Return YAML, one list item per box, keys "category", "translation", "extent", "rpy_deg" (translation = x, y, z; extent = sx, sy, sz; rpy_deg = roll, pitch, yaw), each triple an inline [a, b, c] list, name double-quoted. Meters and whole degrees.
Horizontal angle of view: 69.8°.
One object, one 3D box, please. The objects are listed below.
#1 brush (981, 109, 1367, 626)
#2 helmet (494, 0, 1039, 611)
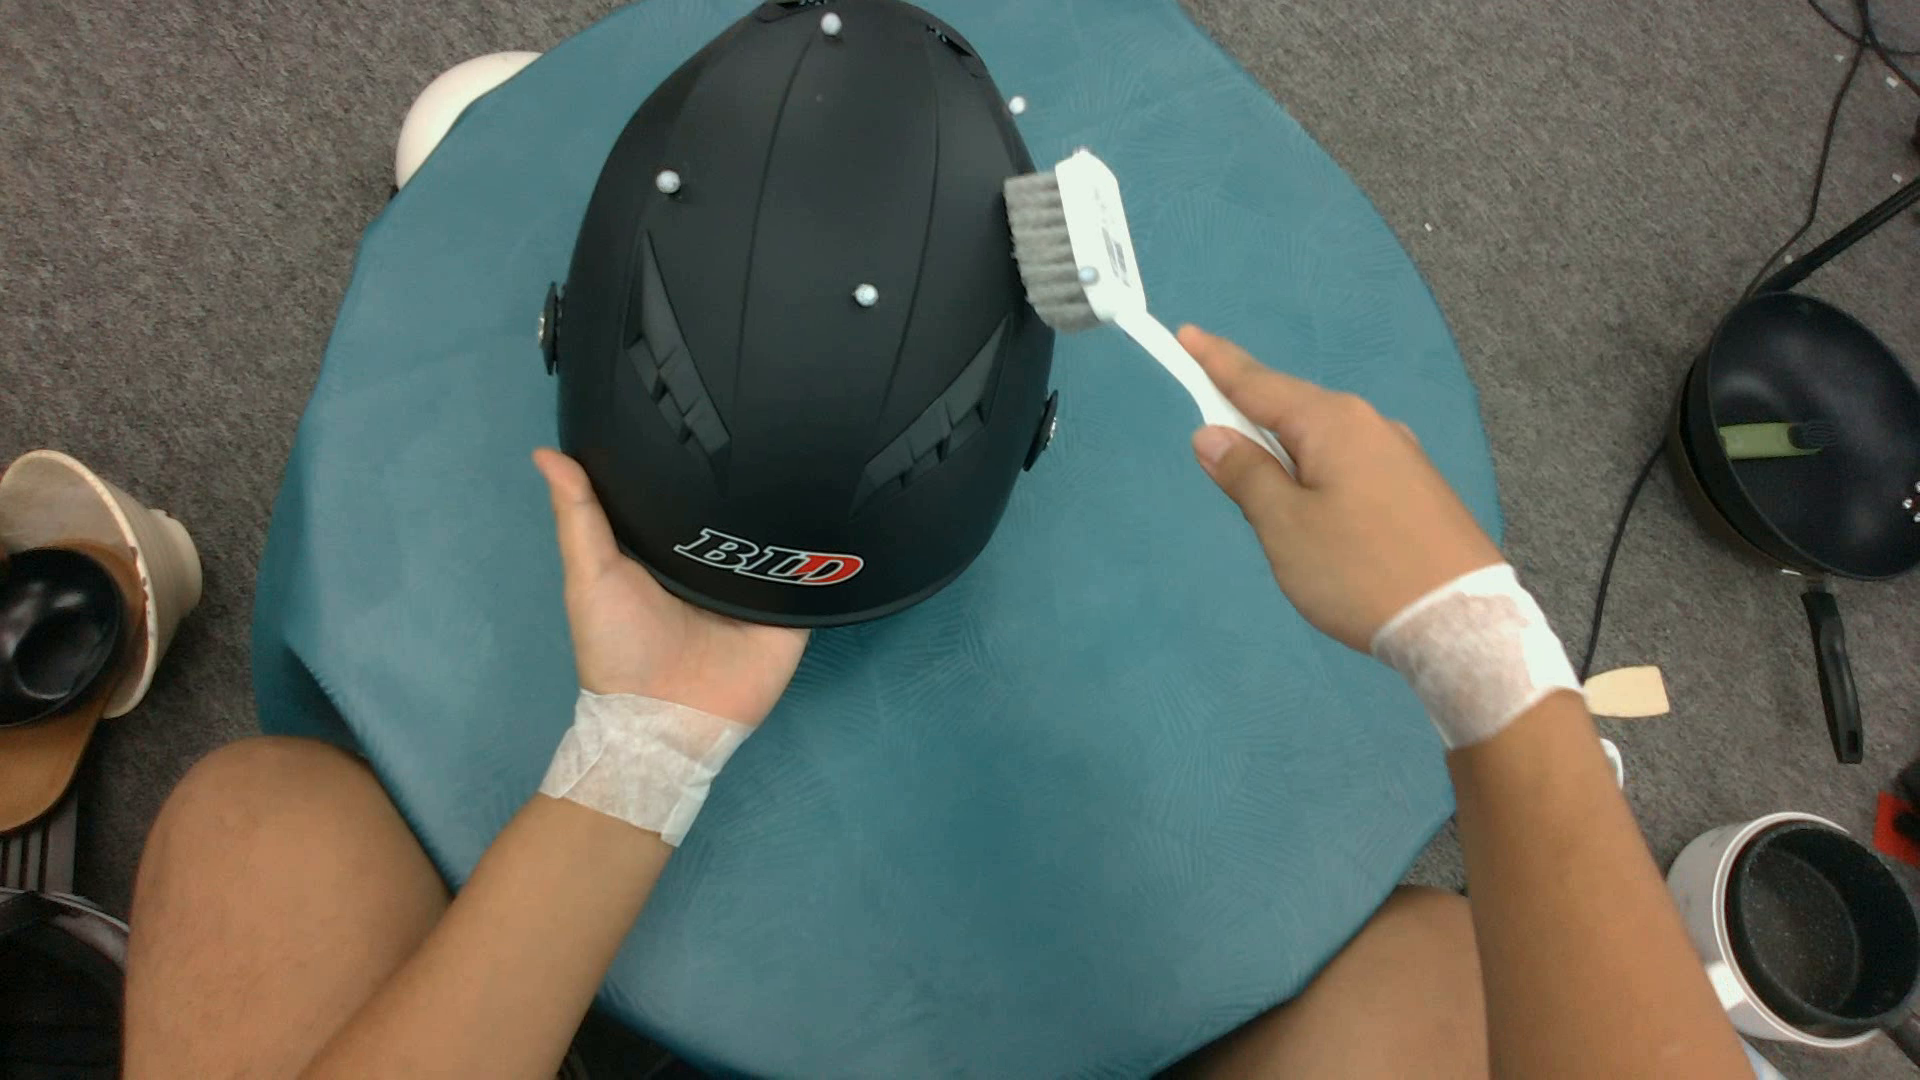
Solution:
- category: "brush"
  translation: [0.072, -0.064, 0.520]
  extent: [0.034, 0.050, 0.244]
  rpy_deg: [7, 52, -58]
- category: "helmet"
  translation: [-0.072, -0.121, 0.592]
  extent: [0.247, 0.171, 0.278]
  rpy_deg: [11, 53, -9]
